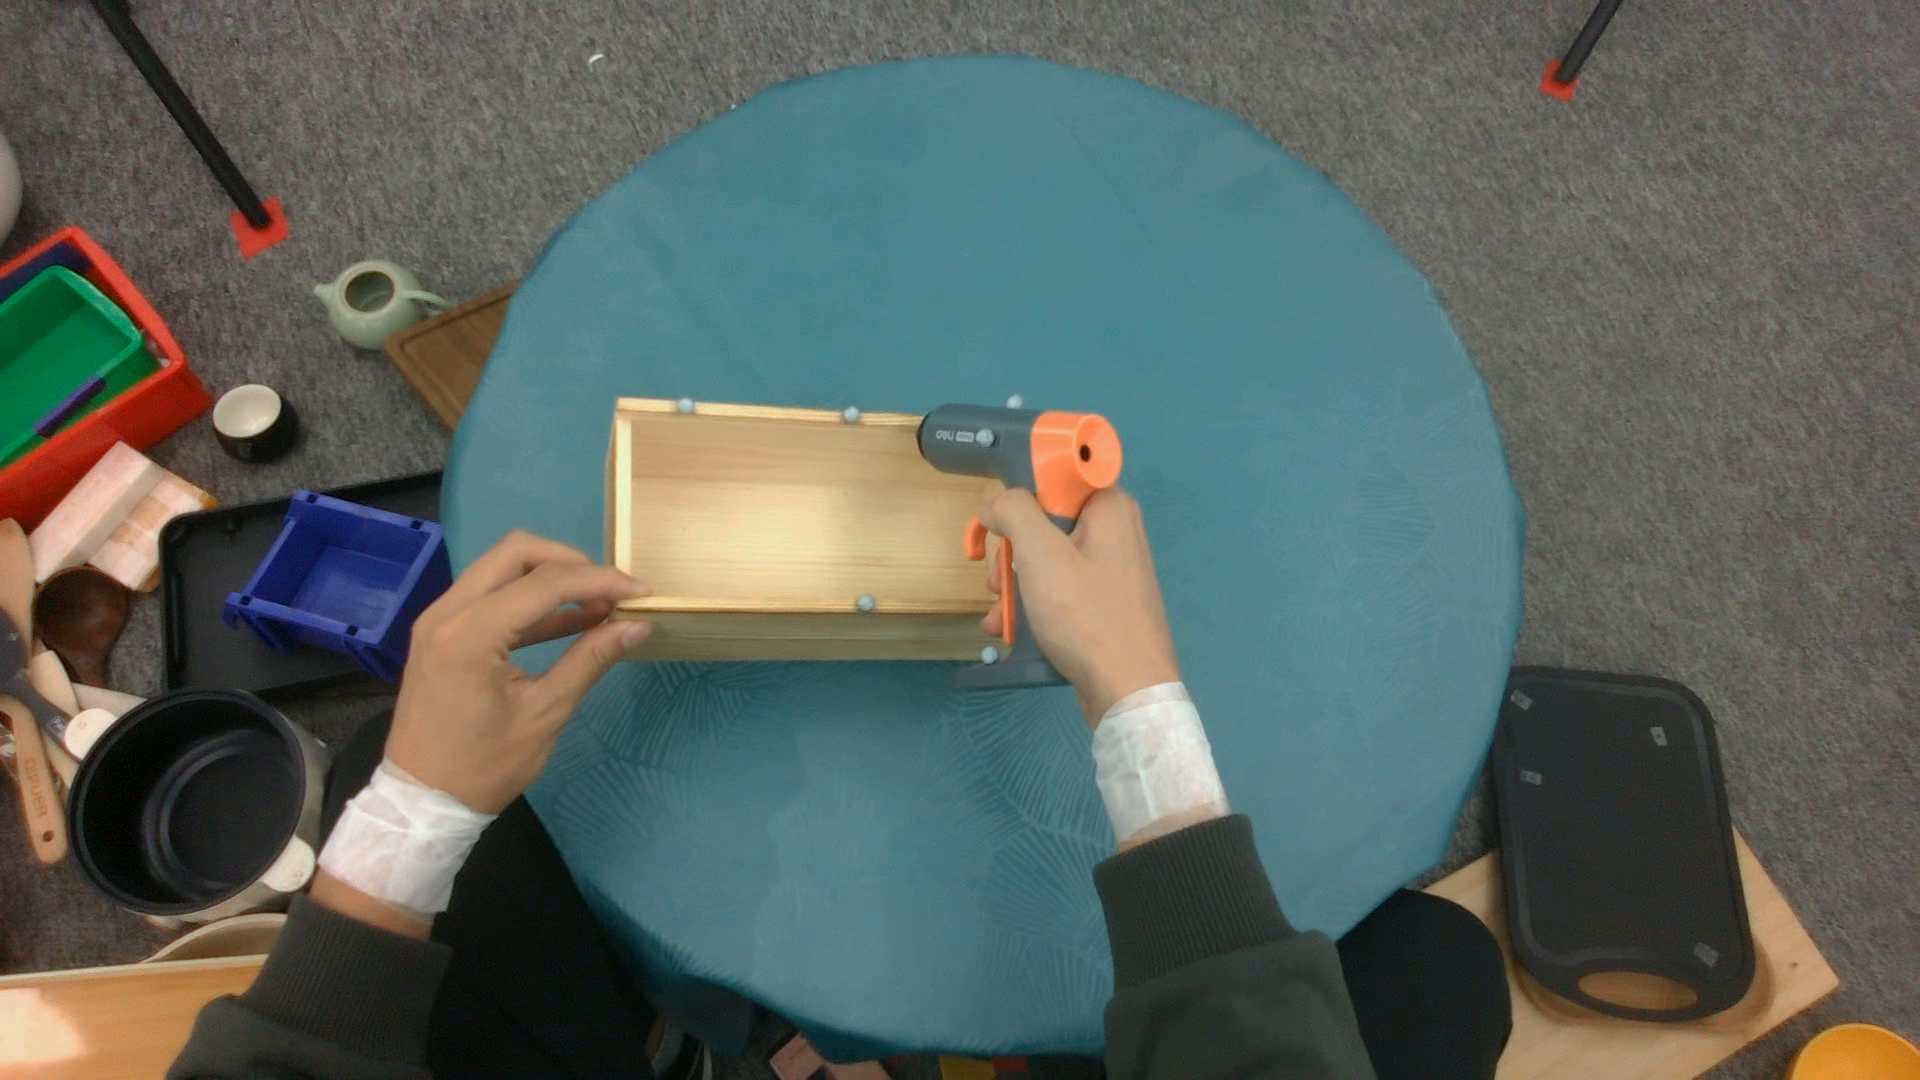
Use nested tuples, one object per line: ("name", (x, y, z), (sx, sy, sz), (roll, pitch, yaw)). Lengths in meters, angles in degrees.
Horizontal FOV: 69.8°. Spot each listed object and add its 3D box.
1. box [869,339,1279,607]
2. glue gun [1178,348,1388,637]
("box", (0.063, -0.031, 0.700), (0.211, 0.080, 0.108), (3, 72, -7))
("glue gun", (0.141, -0.027, 0.630), (0.041, 0.117, 0.140), (4, 82, -30))
